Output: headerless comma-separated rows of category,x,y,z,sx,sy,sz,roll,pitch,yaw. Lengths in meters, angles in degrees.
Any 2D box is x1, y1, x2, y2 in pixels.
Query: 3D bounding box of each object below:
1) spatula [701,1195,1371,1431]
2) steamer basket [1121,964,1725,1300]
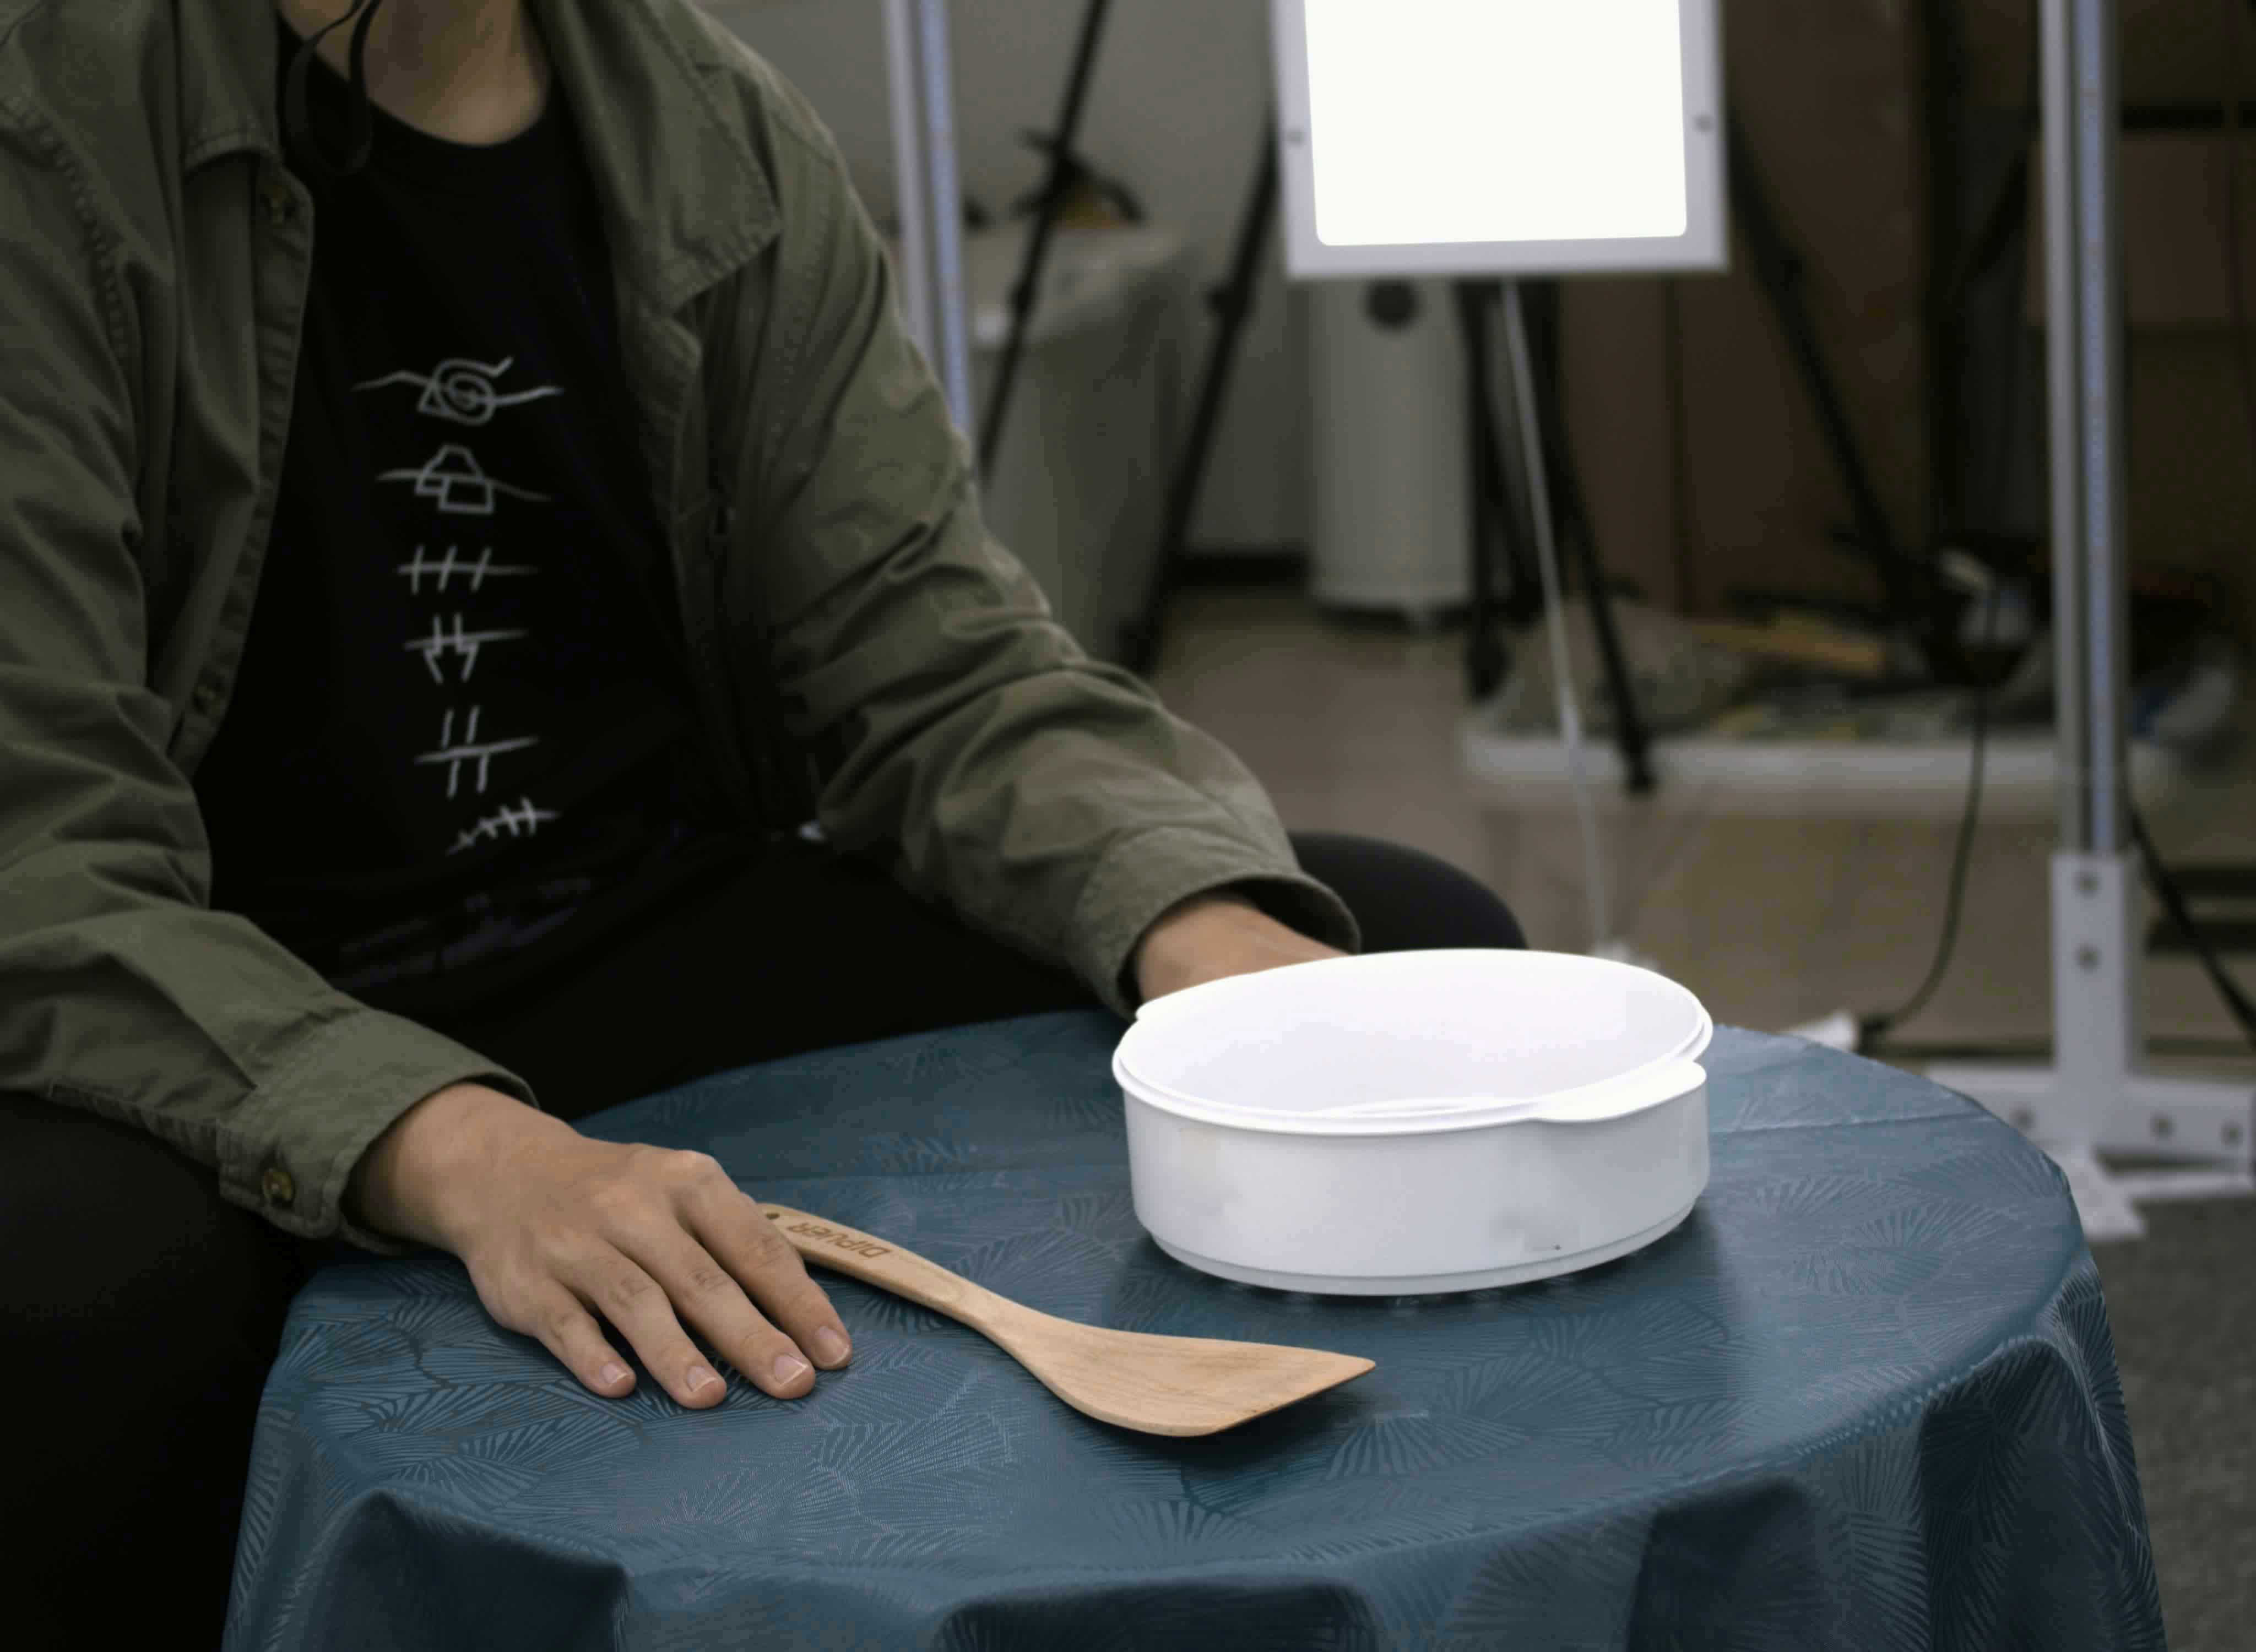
spatula,-0.043,0.151,1.773,0.078,0.016,0.334,-14,17,-34
steamer basket,0.100,0.101,1.825,0.197,0.069,0.235,-15,15,-37
